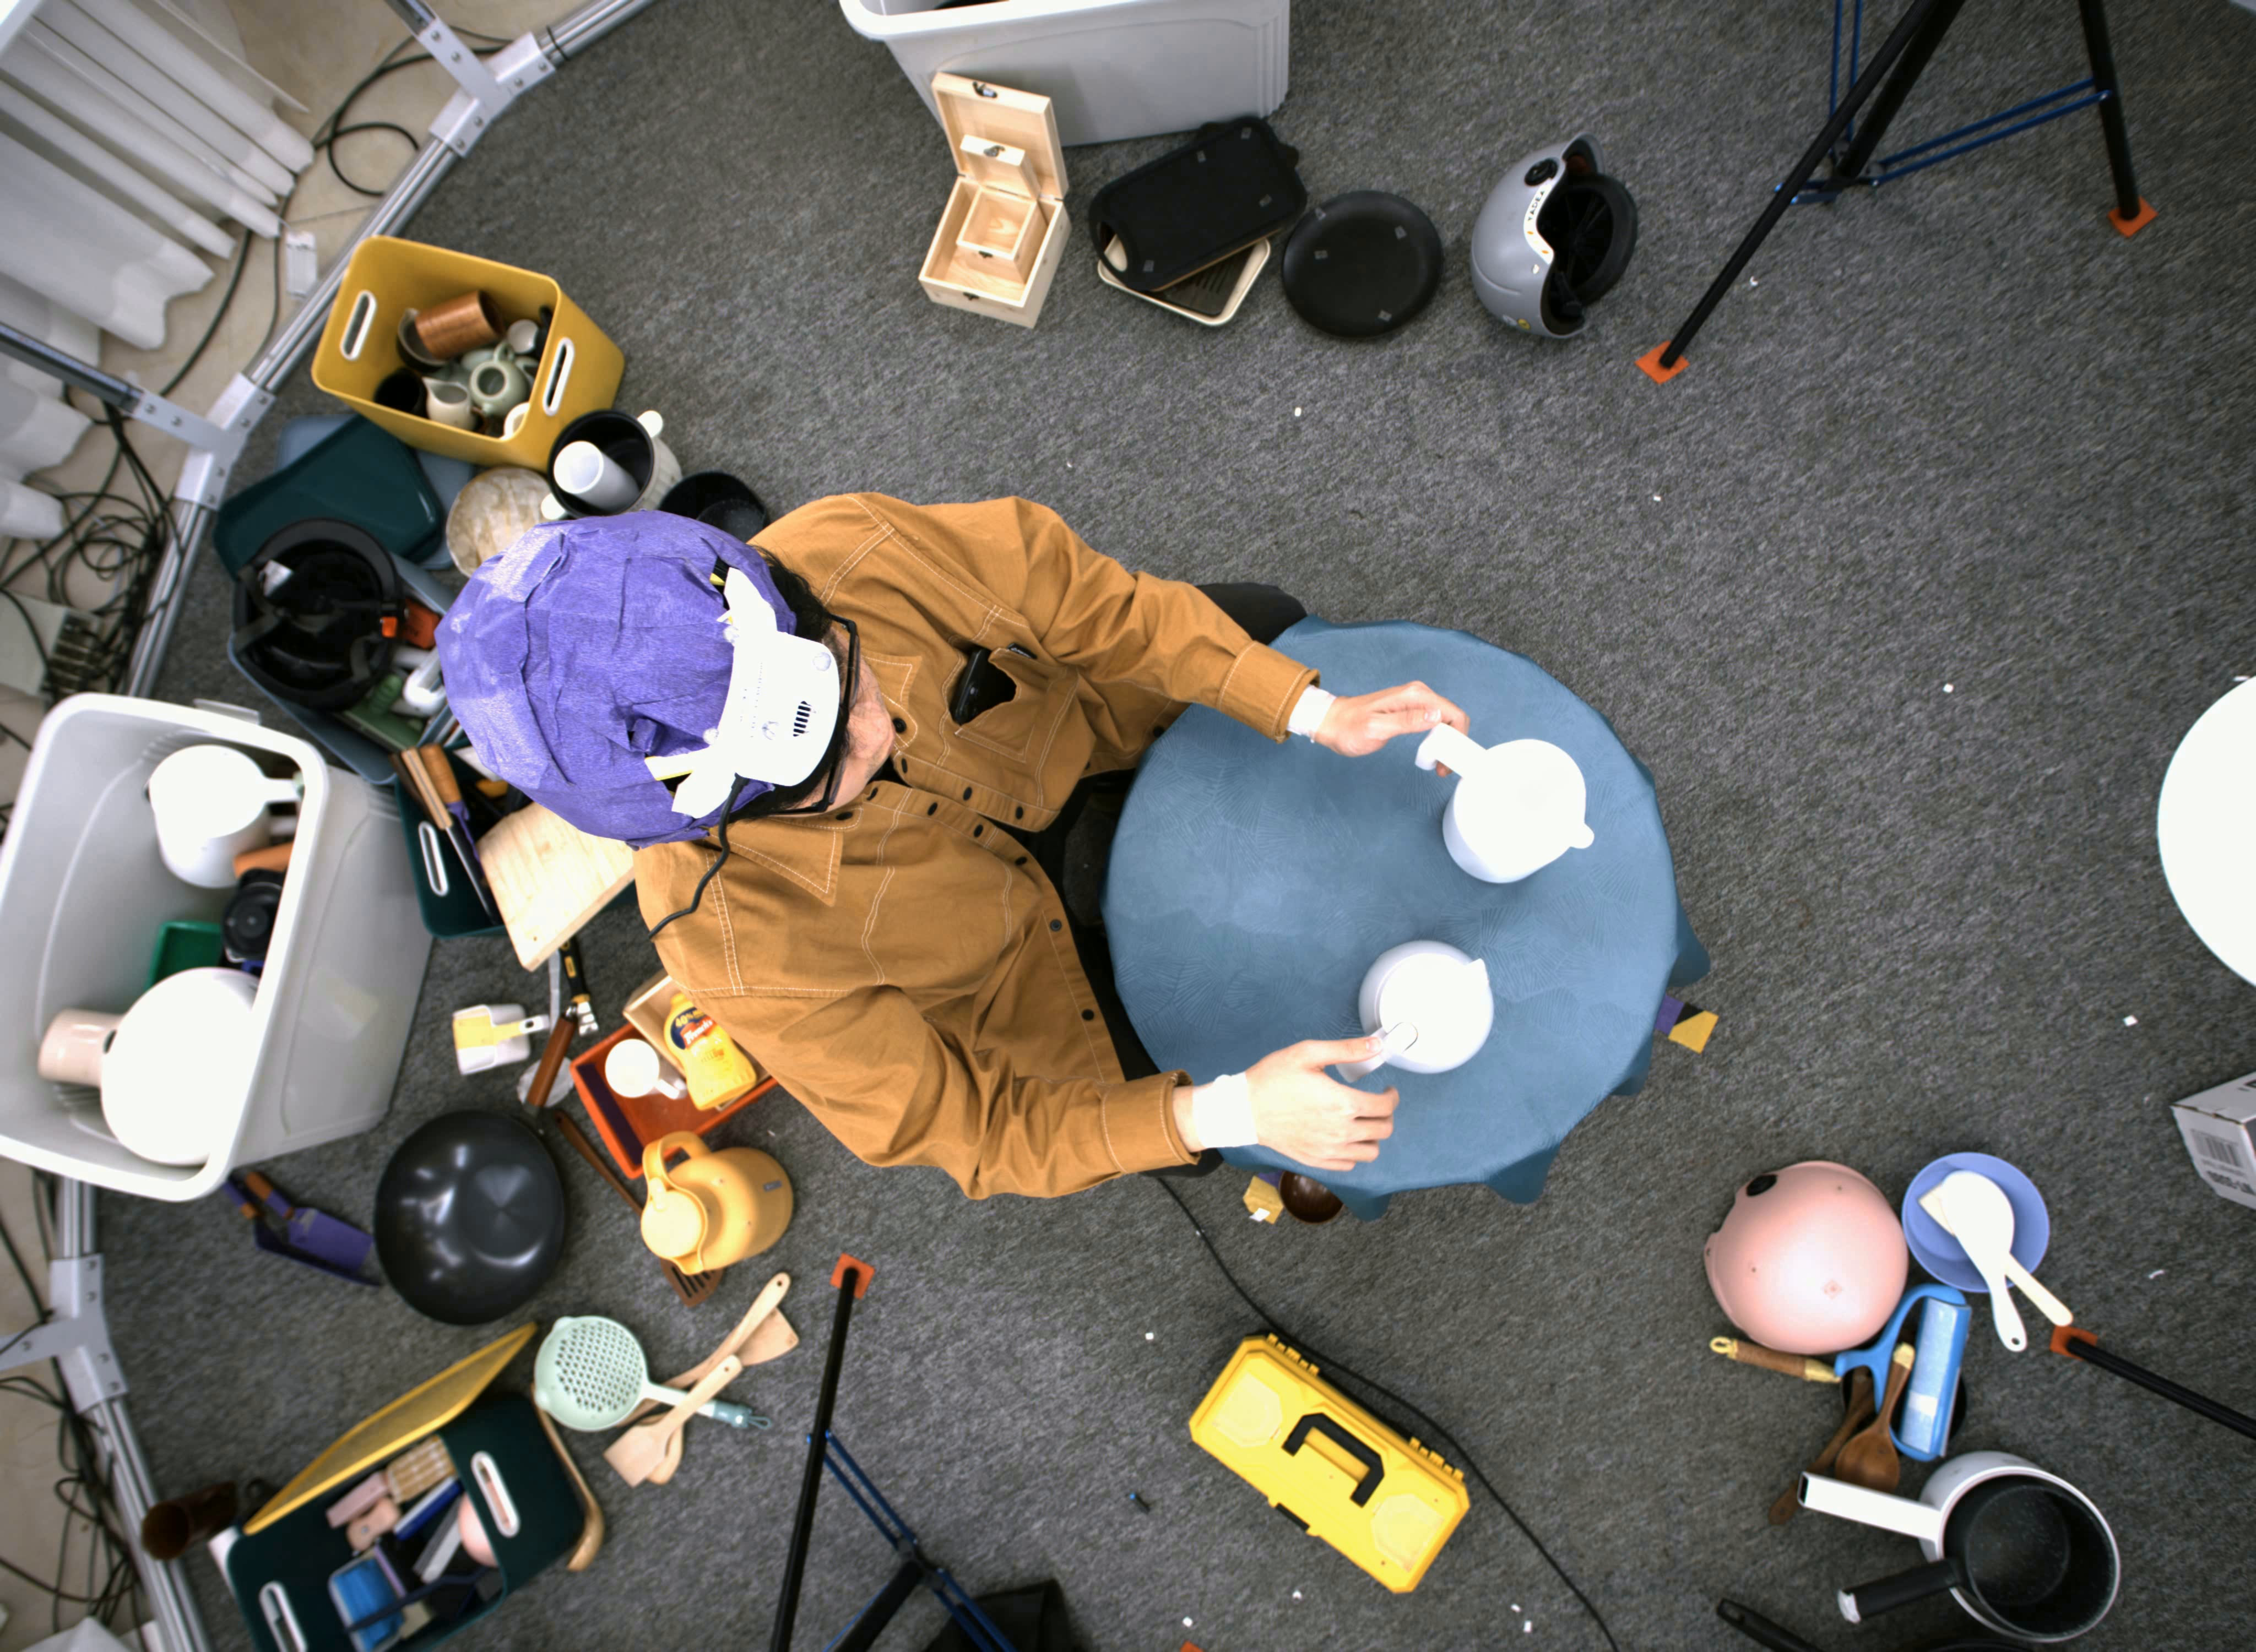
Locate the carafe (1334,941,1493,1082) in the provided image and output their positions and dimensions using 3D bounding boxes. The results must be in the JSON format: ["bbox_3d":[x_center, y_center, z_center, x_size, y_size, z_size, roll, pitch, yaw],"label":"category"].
[{"bbox_3d":[0.272,0.186,1.329,0.168,0.249,0.132,-38,79,6],"label":"carafe"}]

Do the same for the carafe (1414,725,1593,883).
[{"bbox_3d":[0.351,-0.022,1.315,0.172,0.268,0.124,36,94,11],"label":"carafe"}]
